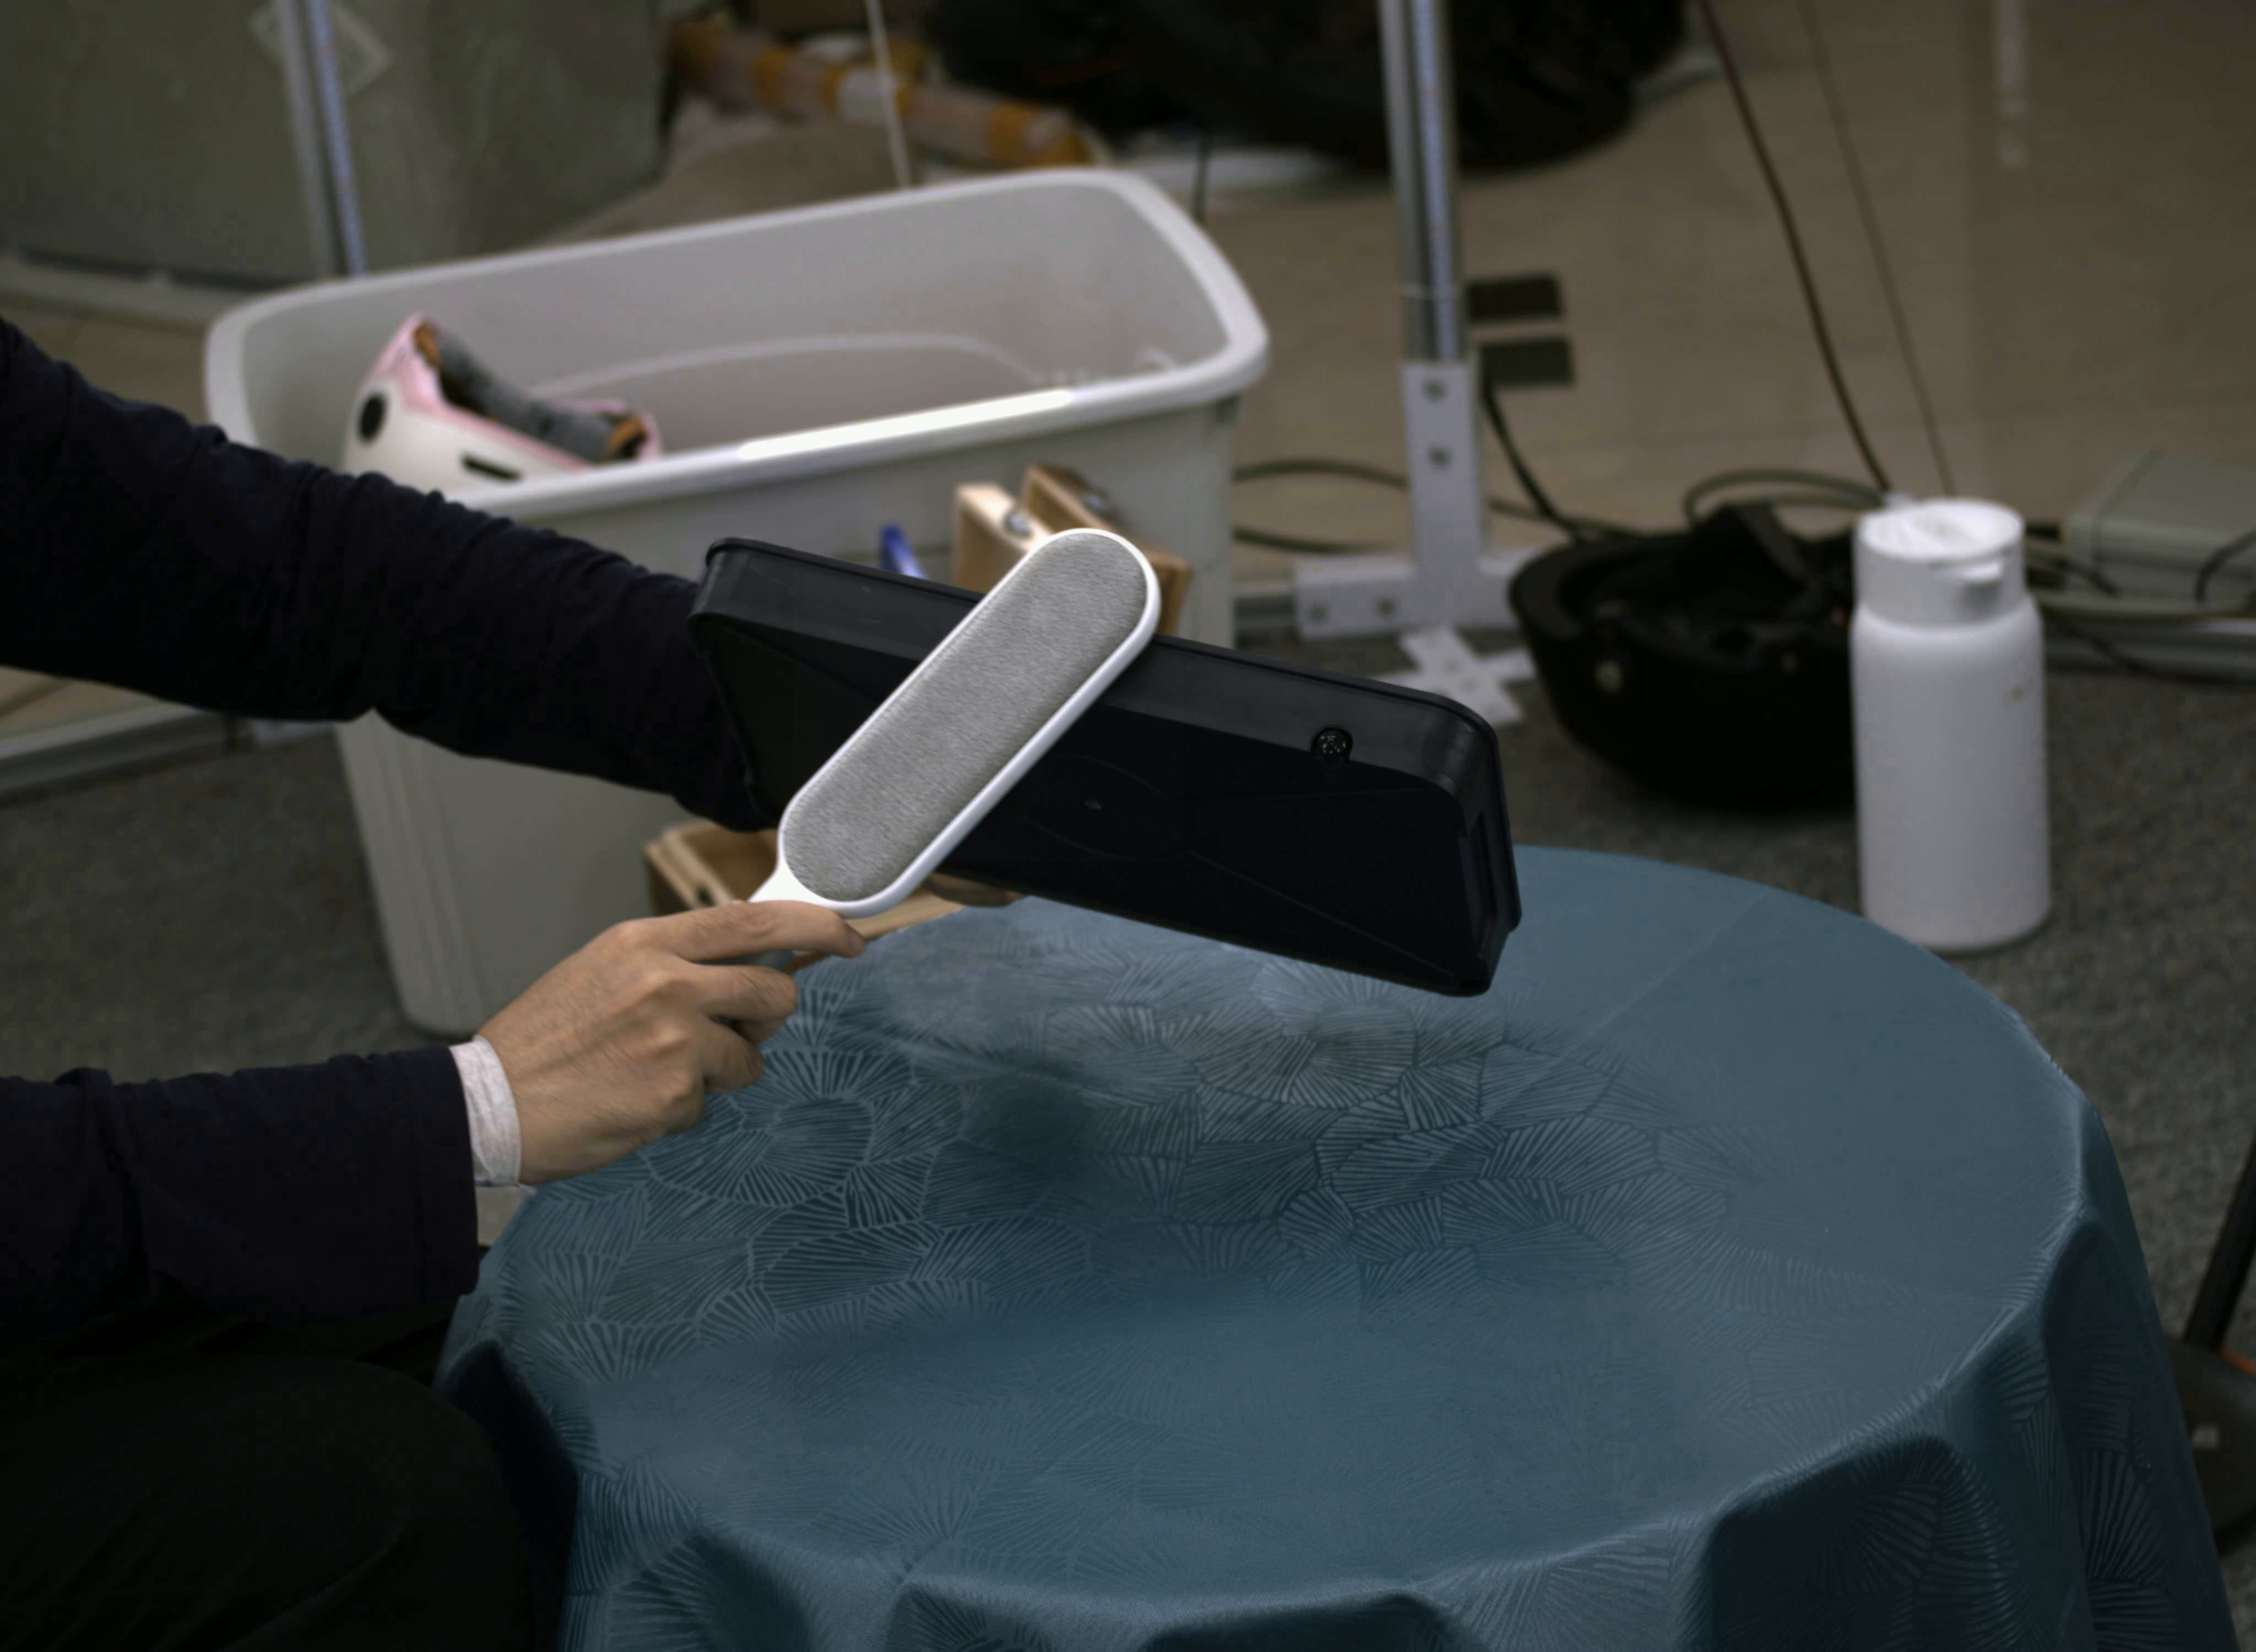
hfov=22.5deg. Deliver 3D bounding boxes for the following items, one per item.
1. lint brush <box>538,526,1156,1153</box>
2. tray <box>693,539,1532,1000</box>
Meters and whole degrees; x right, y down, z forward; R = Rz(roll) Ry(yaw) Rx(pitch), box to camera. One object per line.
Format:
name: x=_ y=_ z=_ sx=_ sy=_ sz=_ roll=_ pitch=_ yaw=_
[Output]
lint brush: x=-0.105 y=0.005 z=2.083 sx=0.059 sy=0.021 sz=0.308 roll=43 pitch=83 yaw=14
tray: x=-0.005 y=-0.020 z=2.185 sx=0.316 sy=0.187 sz=0.036 roll=13 pitch=64 yaw=16
